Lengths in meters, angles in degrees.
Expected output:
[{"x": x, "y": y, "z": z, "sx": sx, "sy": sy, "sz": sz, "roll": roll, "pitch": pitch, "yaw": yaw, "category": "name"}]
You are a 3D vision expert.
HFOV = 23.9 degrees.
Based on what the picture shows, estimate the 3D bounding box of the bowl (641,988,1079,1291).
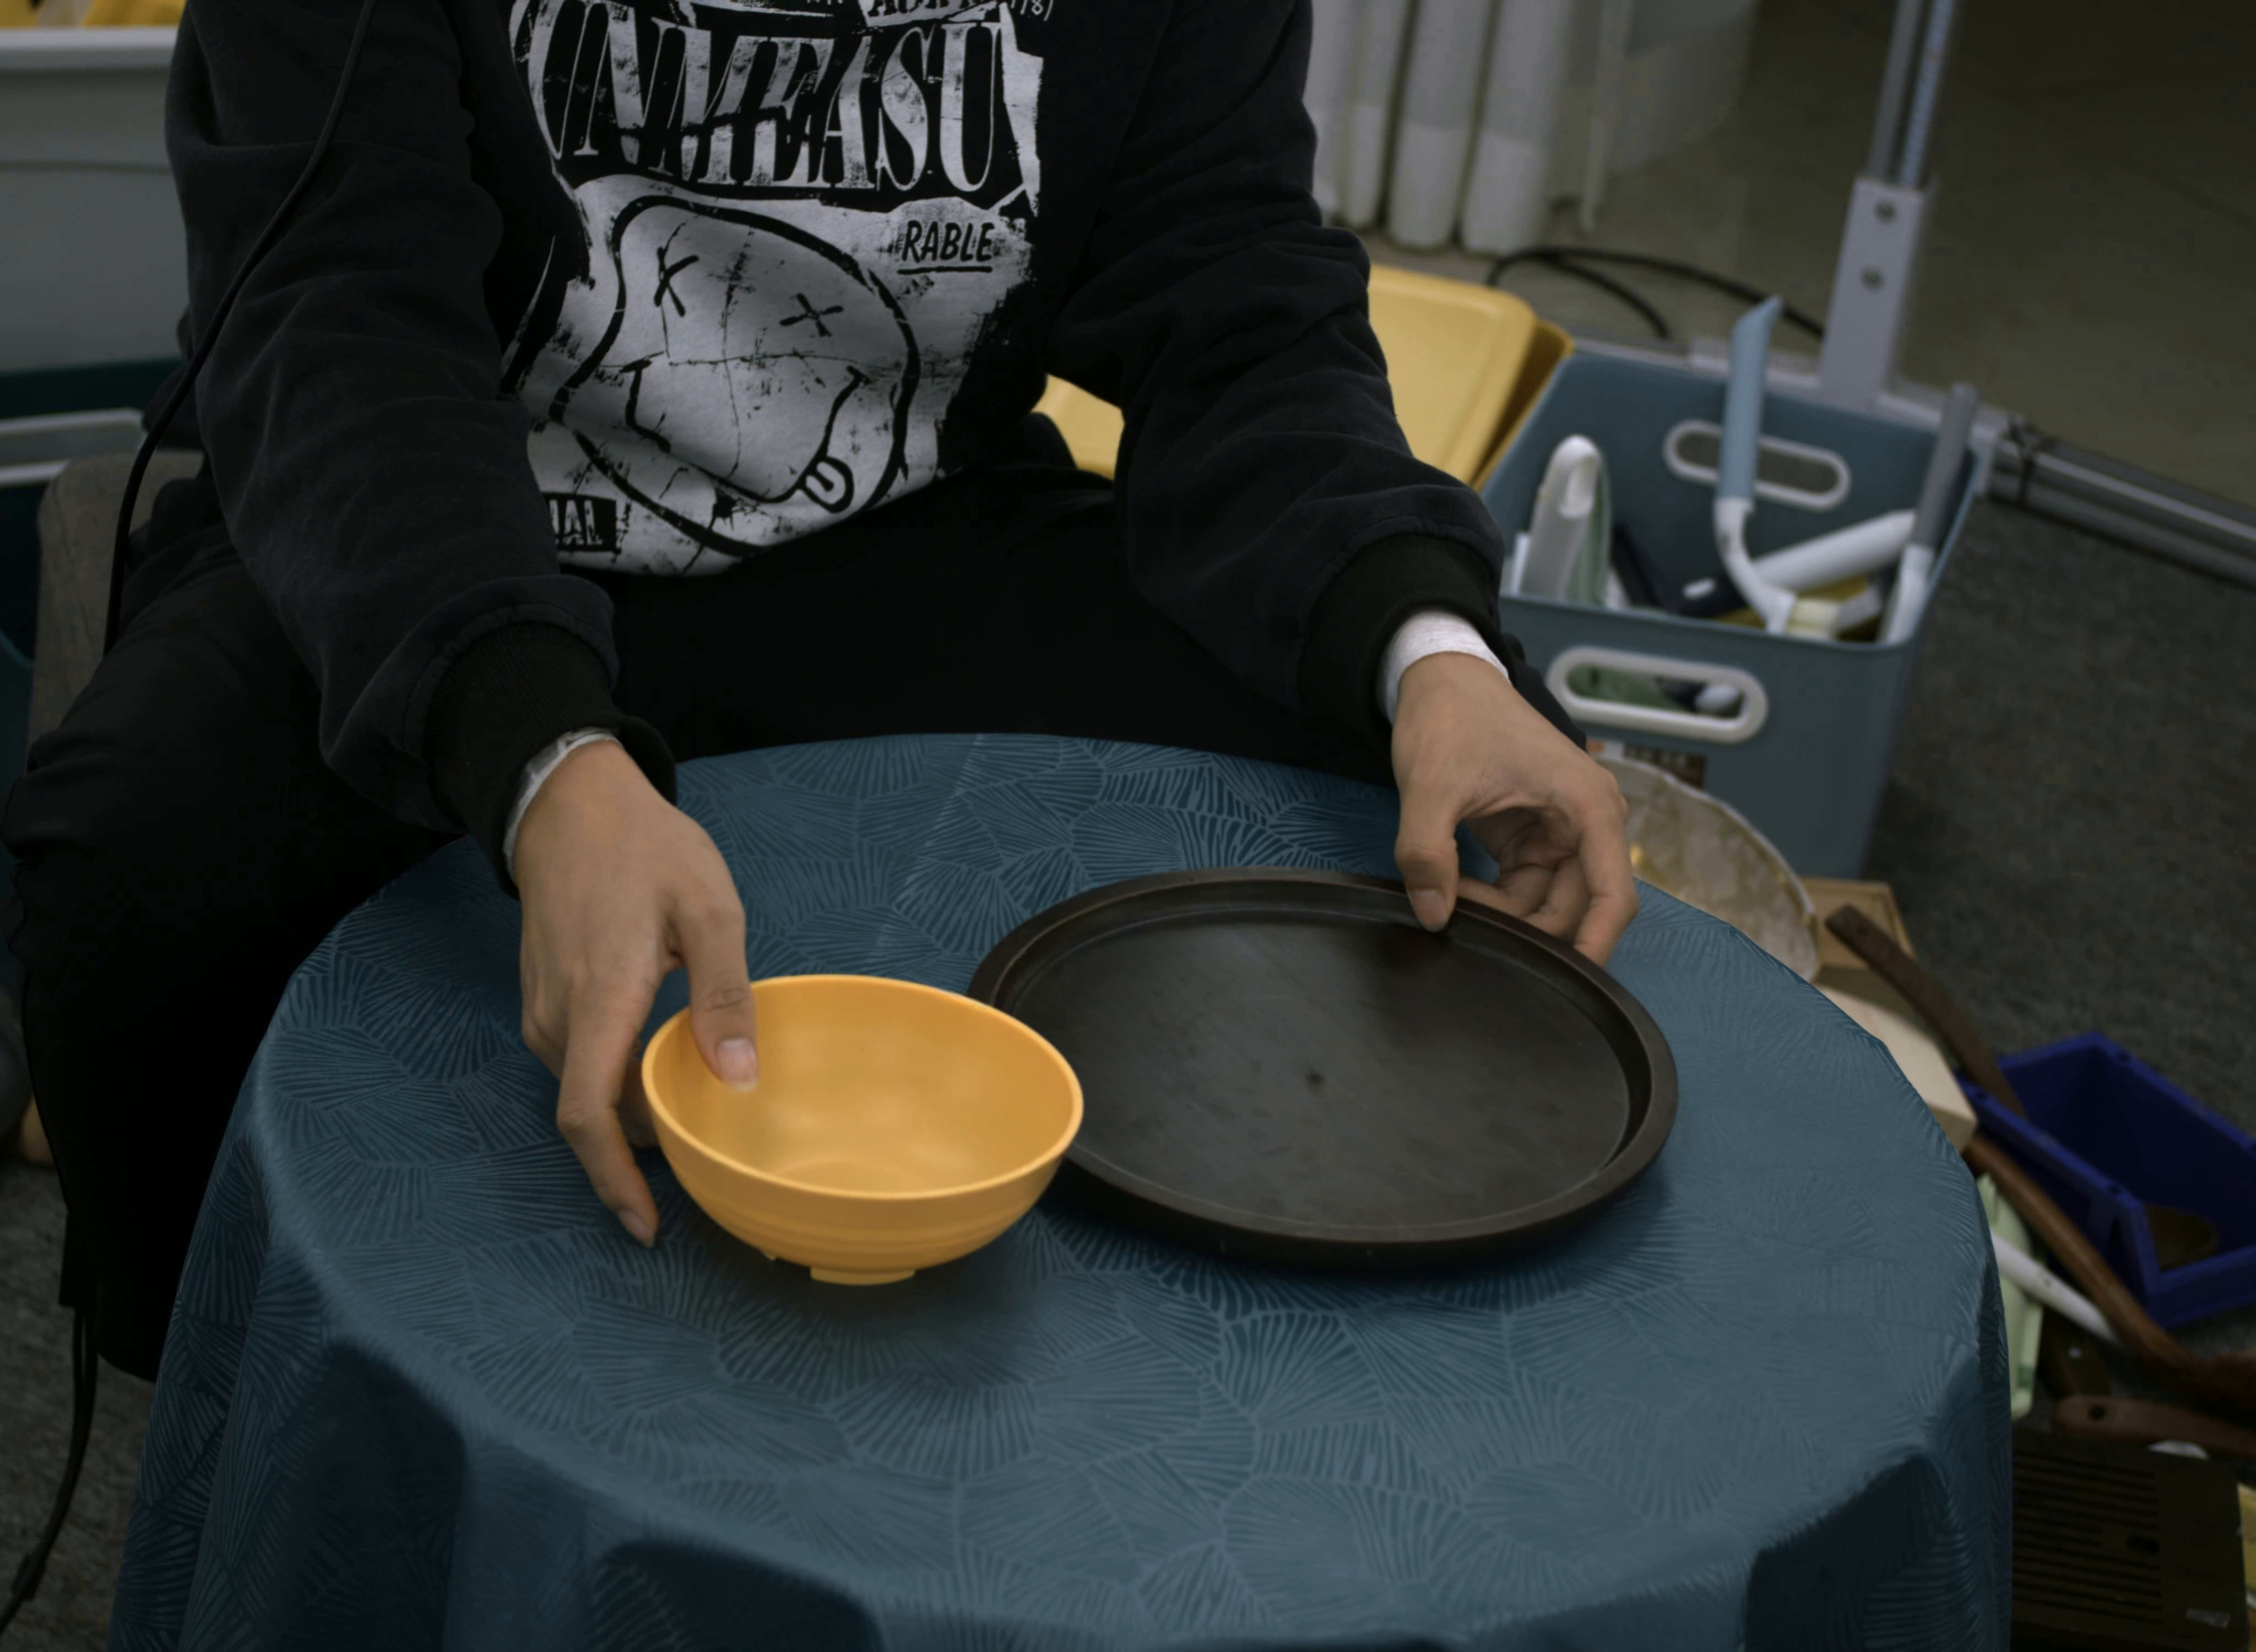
[{"x": -0.091, "y": 0.111, "z": 1.744, "sx": 0.145, "sy": 0.060, "sz": 0.146, "roll": 6, "pitch": 24, "yaw": -3, "category": "bowl"}]

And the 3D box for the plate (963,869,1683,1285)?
[{"x": 0.068, "y": 0.086, "z": 1.861, "sx": 0.254, "sy": 0.029, "sz": 0.256, "roll": 3, "pitch": 28, "yaw": -2, "category": "plate"}]
